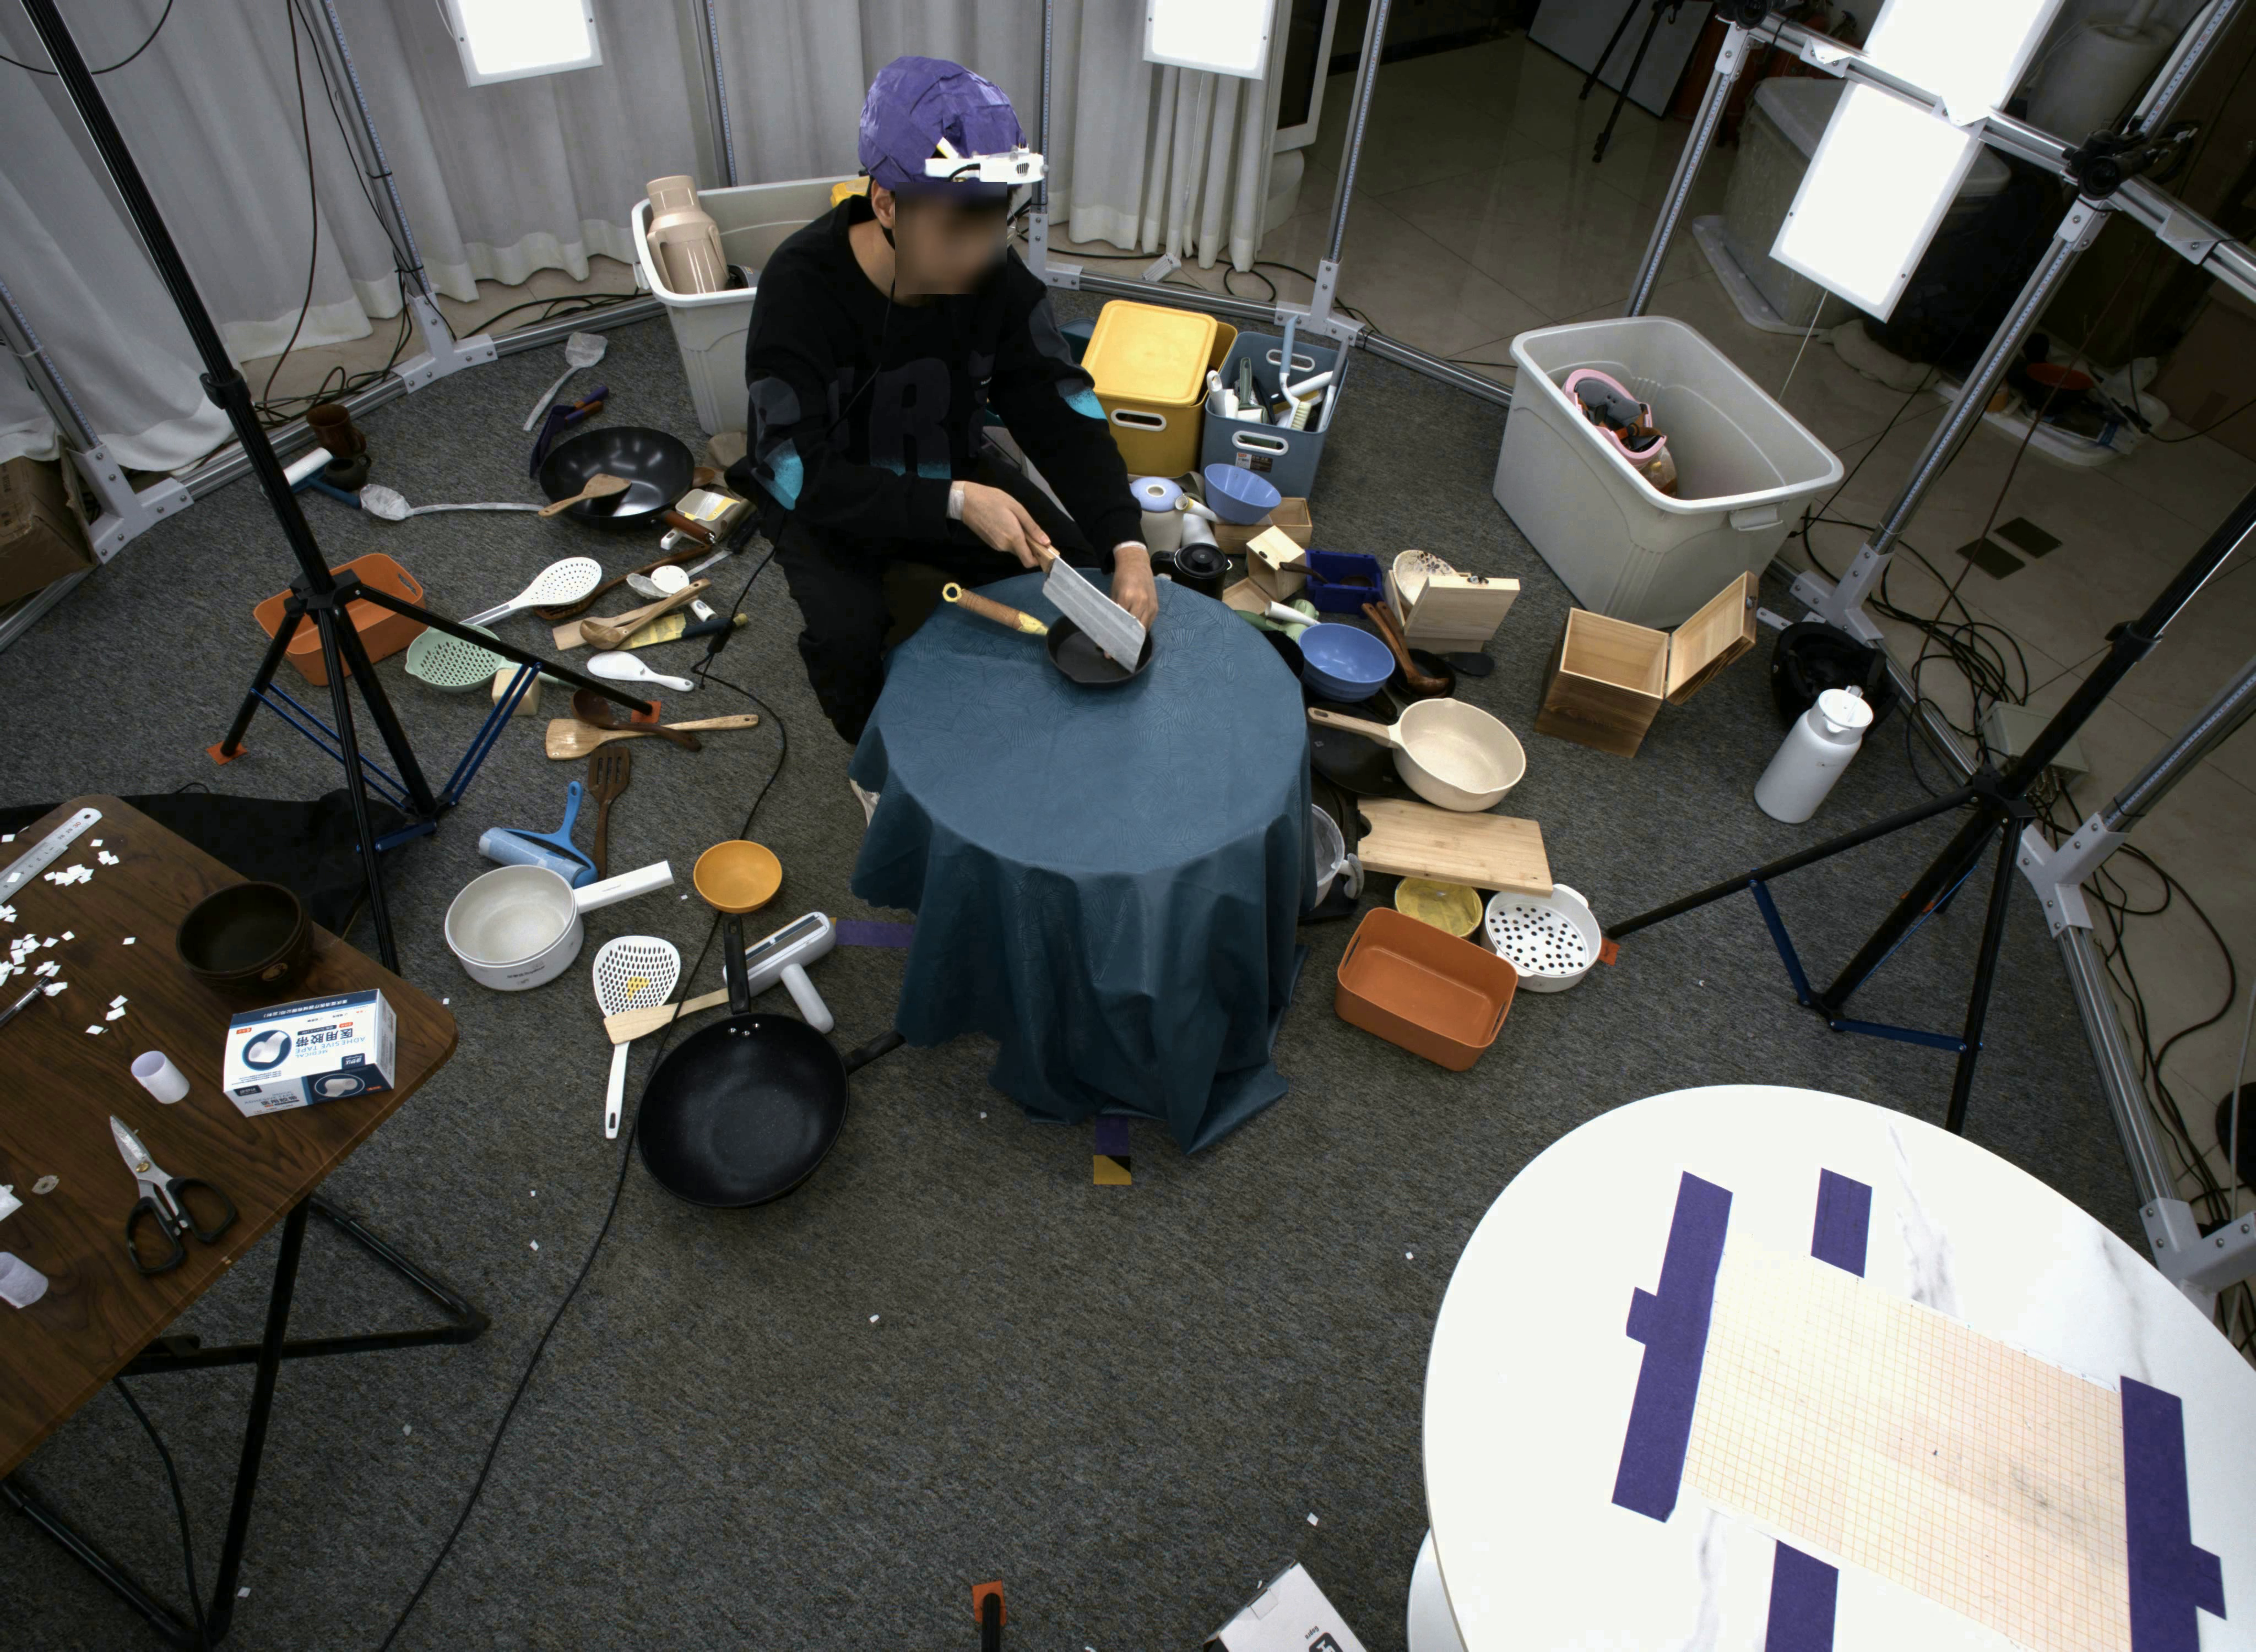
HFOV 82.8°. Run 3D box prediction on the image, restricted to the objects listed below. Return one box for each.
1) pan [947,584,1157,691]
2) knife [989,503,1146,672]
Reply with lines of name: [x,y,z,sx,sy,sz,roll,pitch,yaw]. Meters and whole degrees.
pan: [-0.114,-0.285,1.877,0.326,0.048,0.172,20,51,12]
knife: [-0.086,-0.350,1.846,0.317,0.112,0.022,45,58,10]
